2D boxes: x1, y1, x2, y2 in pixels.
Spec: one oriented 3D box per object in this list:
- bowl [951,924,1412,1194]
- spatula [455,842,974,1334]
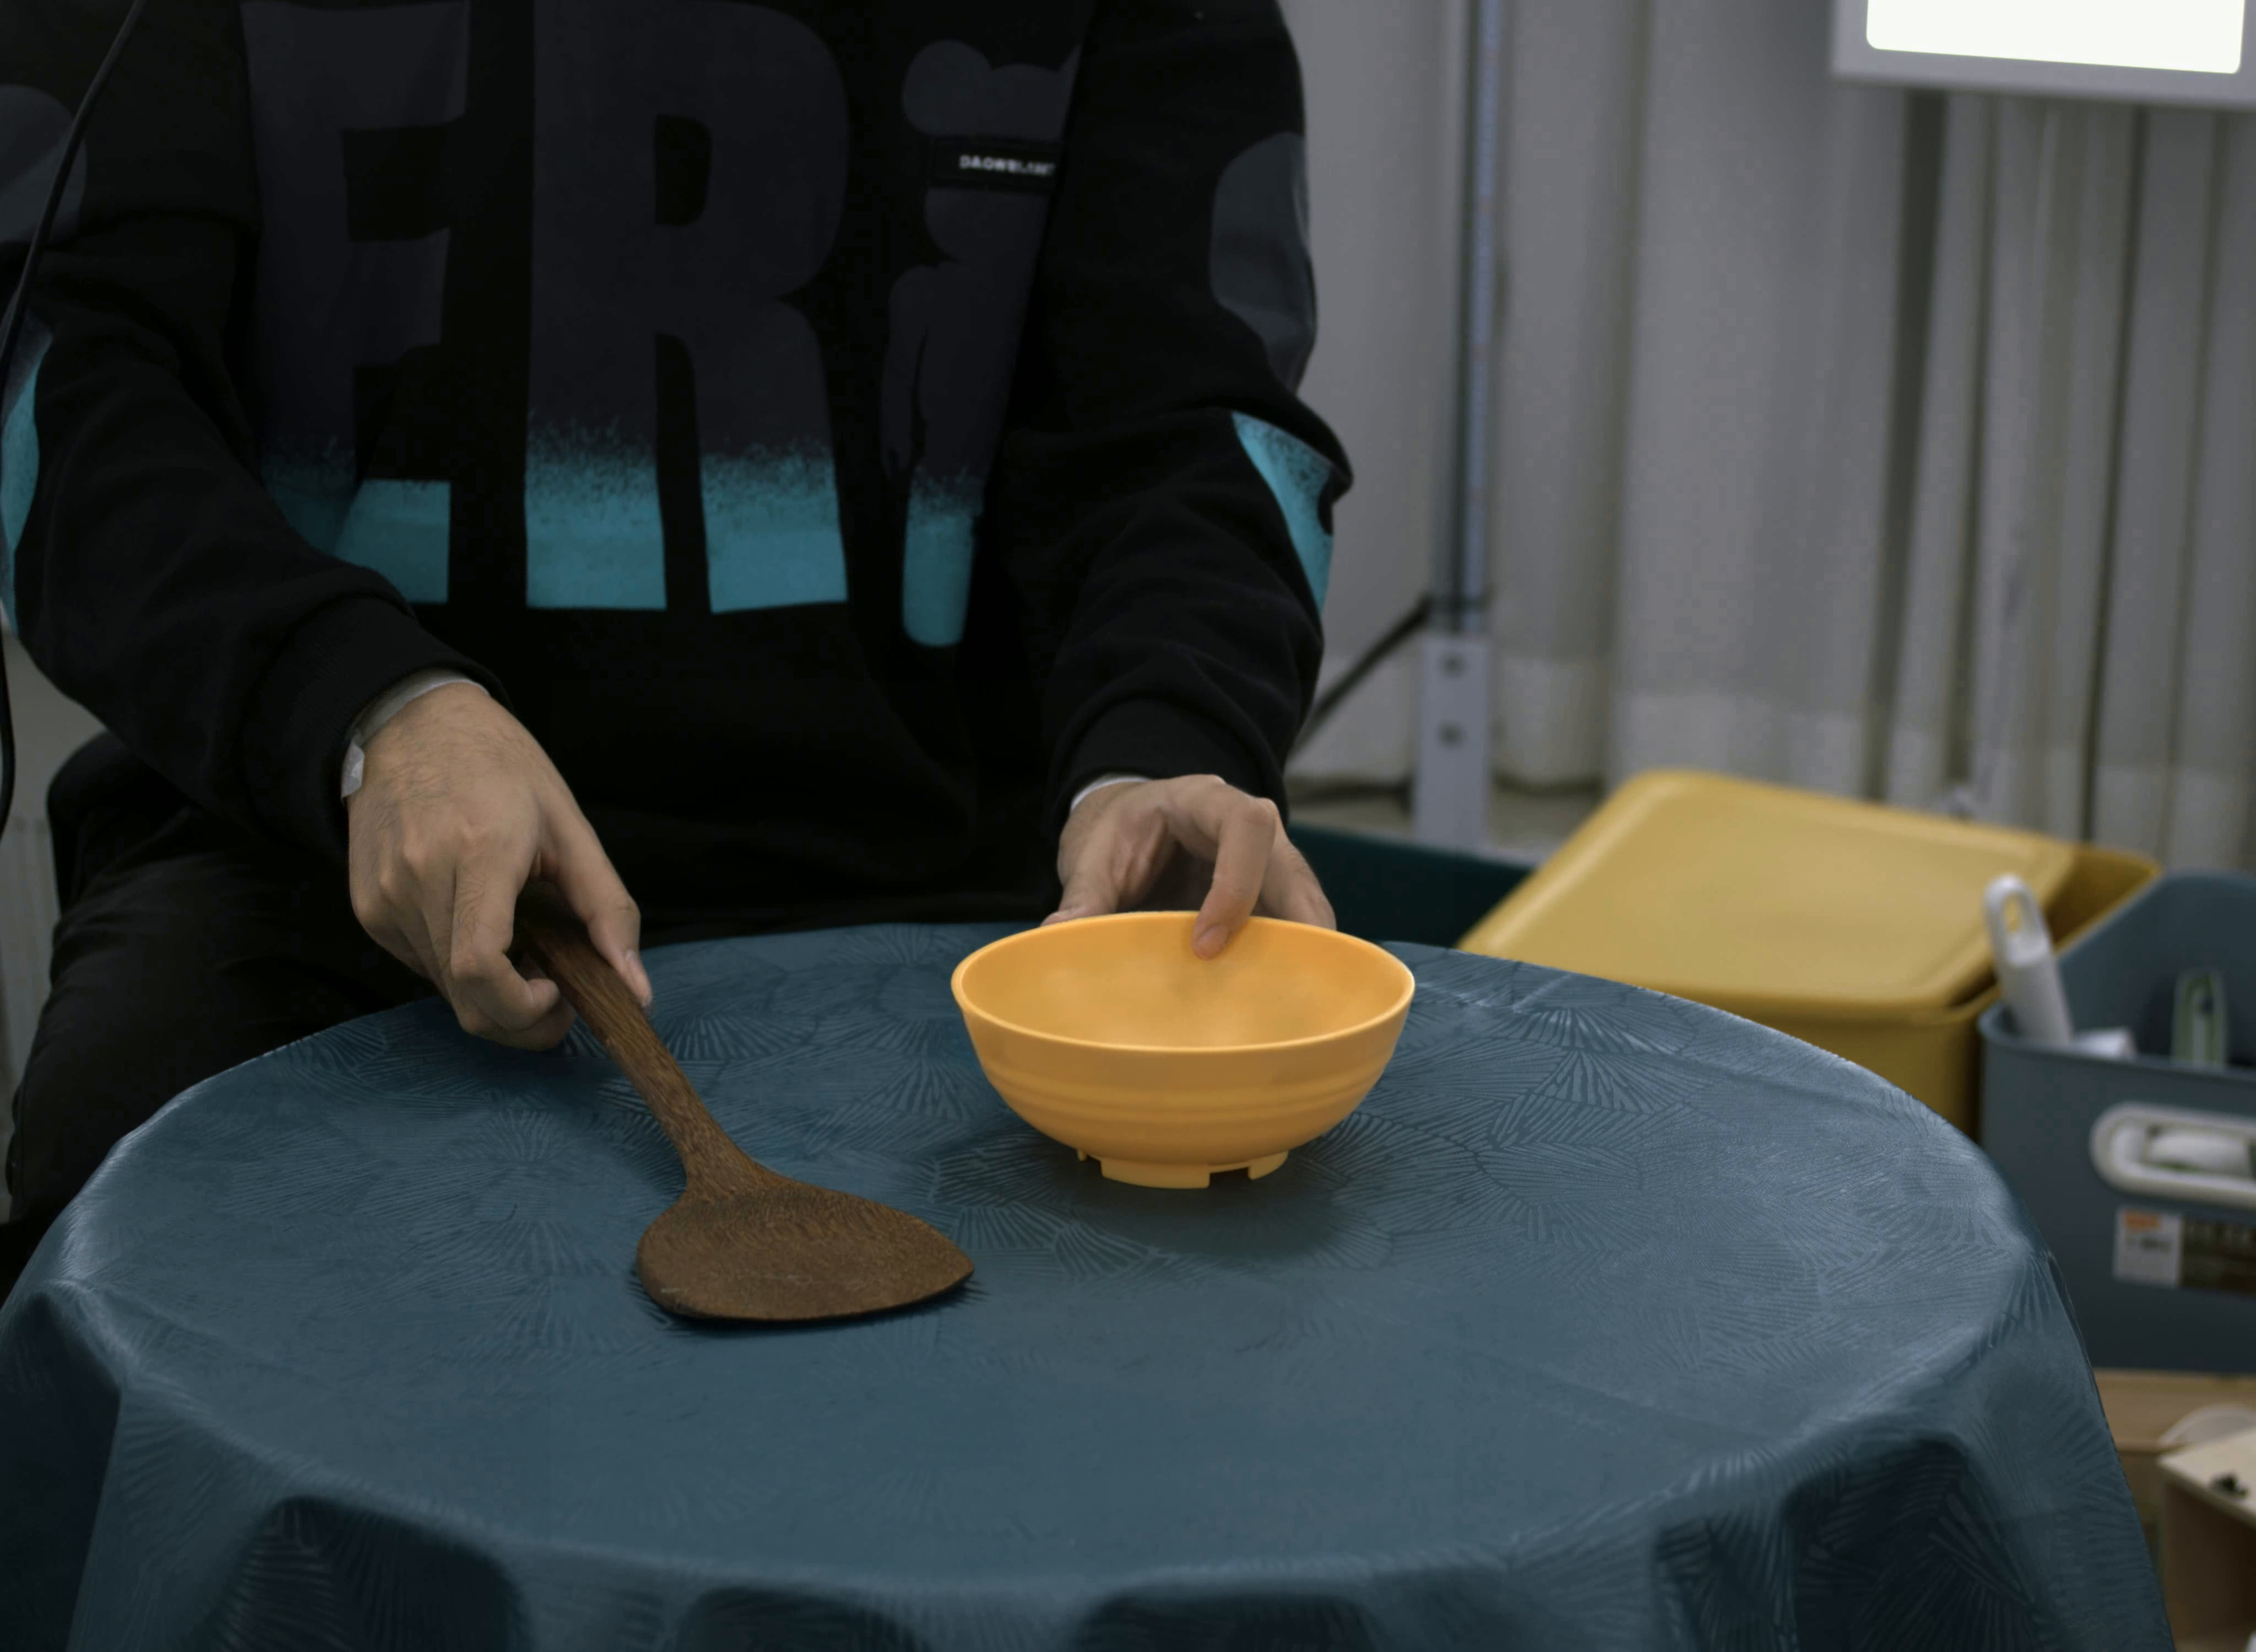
[{"bbox_3d":[0.016,0.077,1.650,0.145,0.060,0.144,2,14,0],"label":"bowl"},{"bbox_3d":[-0.153,0.075,1.674,0.096,0.016,0.381,-5,24,-22],"label":"spatula"}]
